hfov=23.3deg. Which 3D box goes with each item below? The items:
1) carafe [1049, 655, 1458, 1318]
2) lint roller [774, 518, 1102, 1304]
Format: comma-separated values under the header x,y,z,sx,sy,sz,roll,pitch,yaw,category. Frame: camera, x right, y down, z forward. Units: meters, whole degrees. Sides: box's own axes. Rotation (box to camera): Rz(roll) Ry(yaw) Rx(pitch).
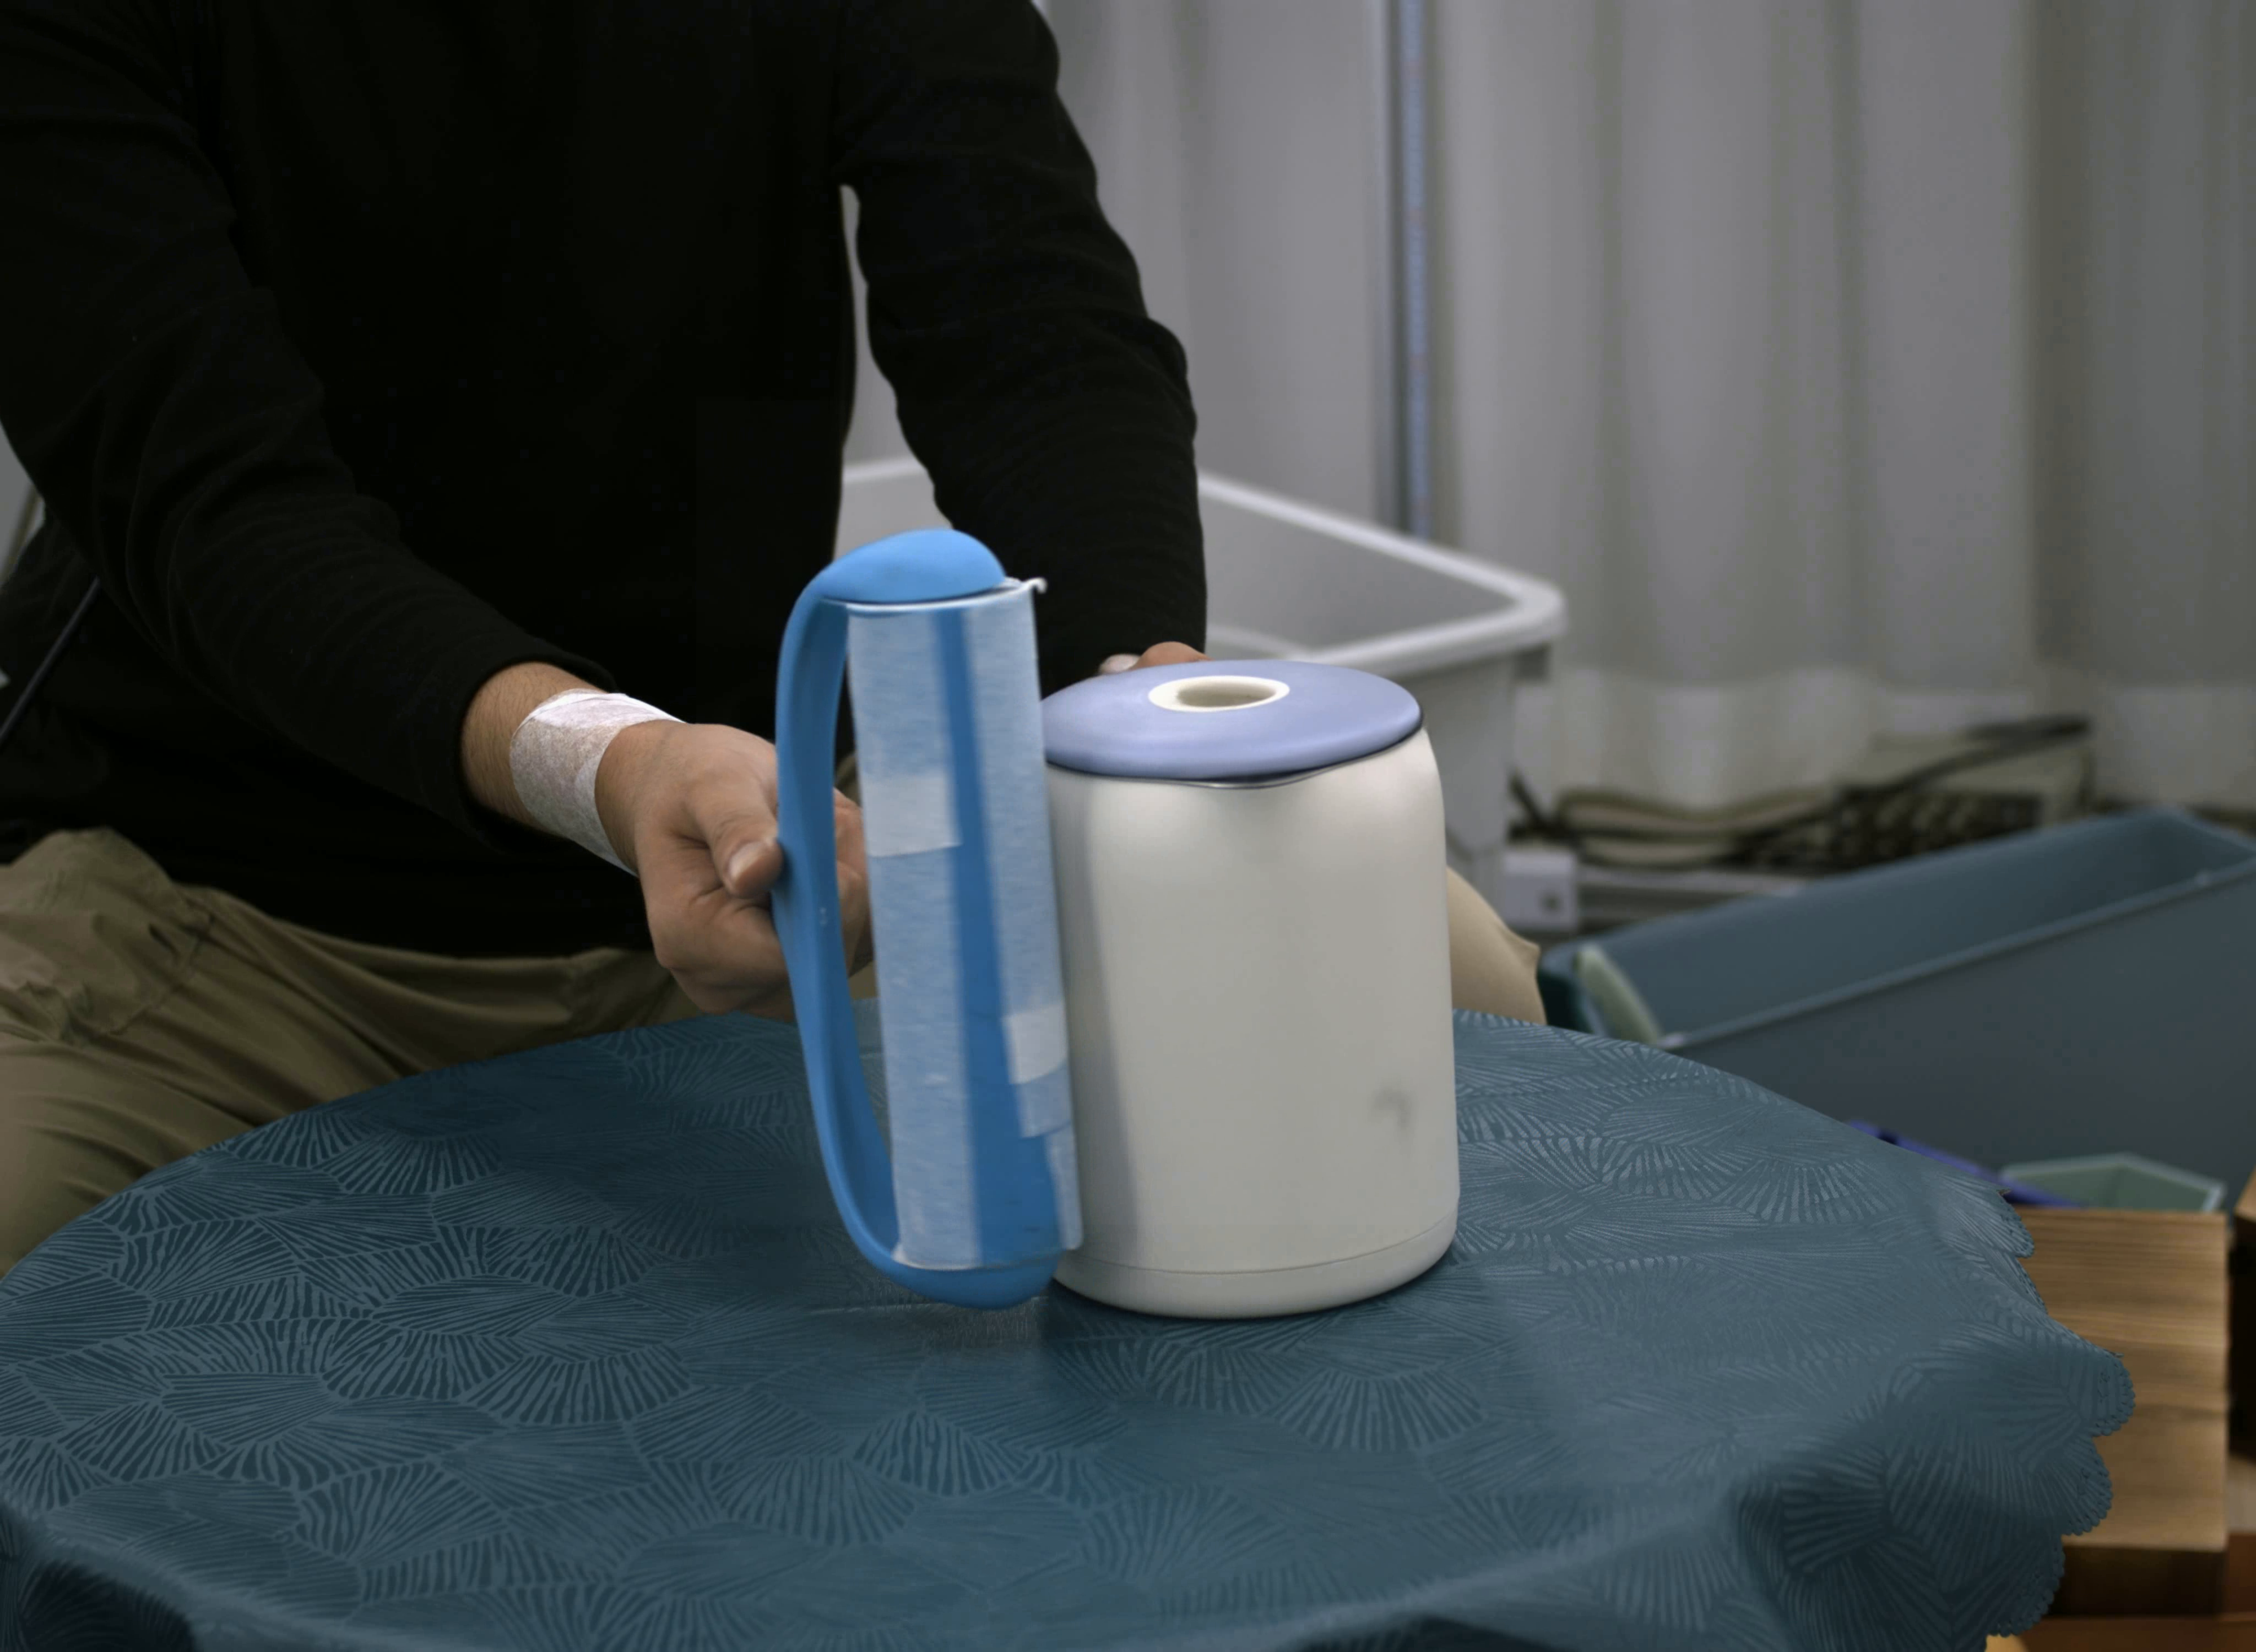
x,y,z,sx,sy,sz,roll,pitch,yaw,category
0.026,0.041,1.655,0.131,0.182,0.192,-5,12,-10,carafe
-0.072,0.022,1.626,0.067,0.229,0.181,-11,8,-28,lint roller
